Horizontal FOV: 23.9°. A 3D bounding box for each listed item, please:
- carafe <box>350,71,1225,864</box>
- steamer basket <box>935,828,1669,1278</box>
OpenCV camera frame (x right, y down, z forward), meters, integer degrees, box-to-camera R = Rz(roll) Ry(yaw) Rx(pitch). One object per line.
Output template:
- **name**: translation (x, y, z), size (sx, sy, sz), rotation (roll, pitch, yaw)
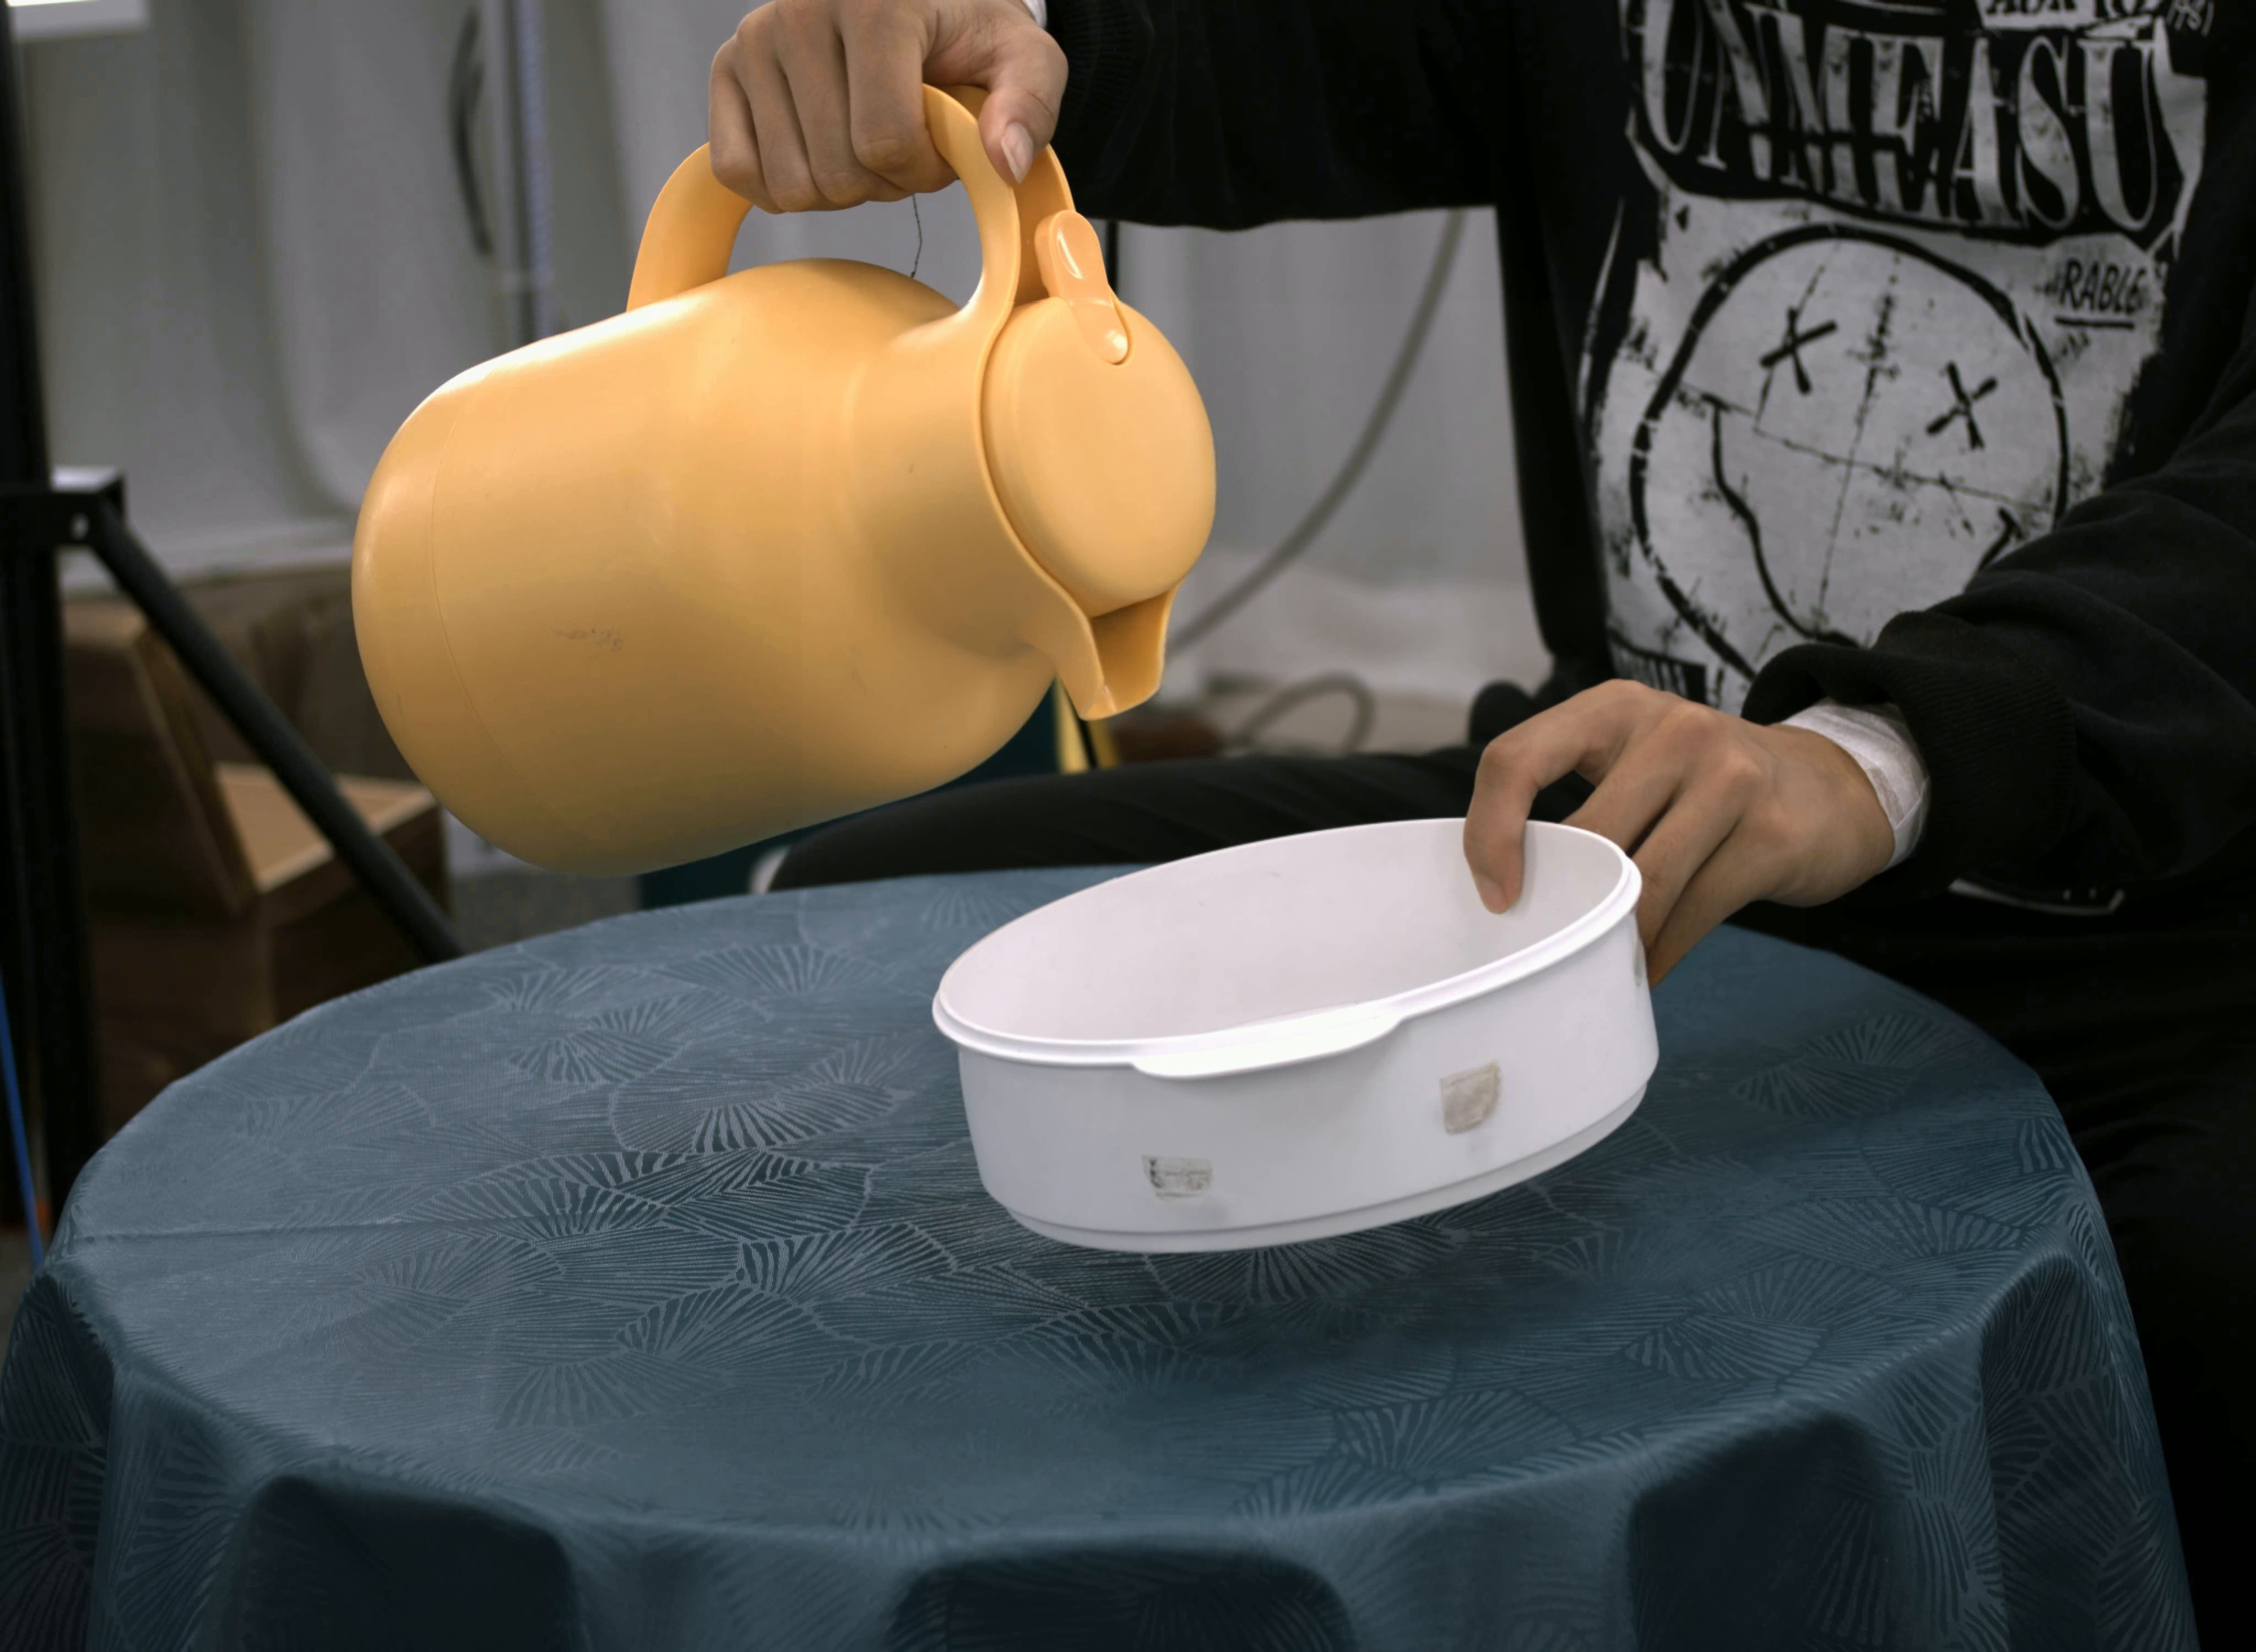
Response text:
- **carafe**: translation (-0.096, -0.104, 1.557), size (0.265, 0.204, 0.159), rotation (-12, -8, 39)
- **steamer basket**: translation (0.051, 0.063, 1.470), size (0.202, 0.069, 0.230), rotation (-11, 14, 8)
